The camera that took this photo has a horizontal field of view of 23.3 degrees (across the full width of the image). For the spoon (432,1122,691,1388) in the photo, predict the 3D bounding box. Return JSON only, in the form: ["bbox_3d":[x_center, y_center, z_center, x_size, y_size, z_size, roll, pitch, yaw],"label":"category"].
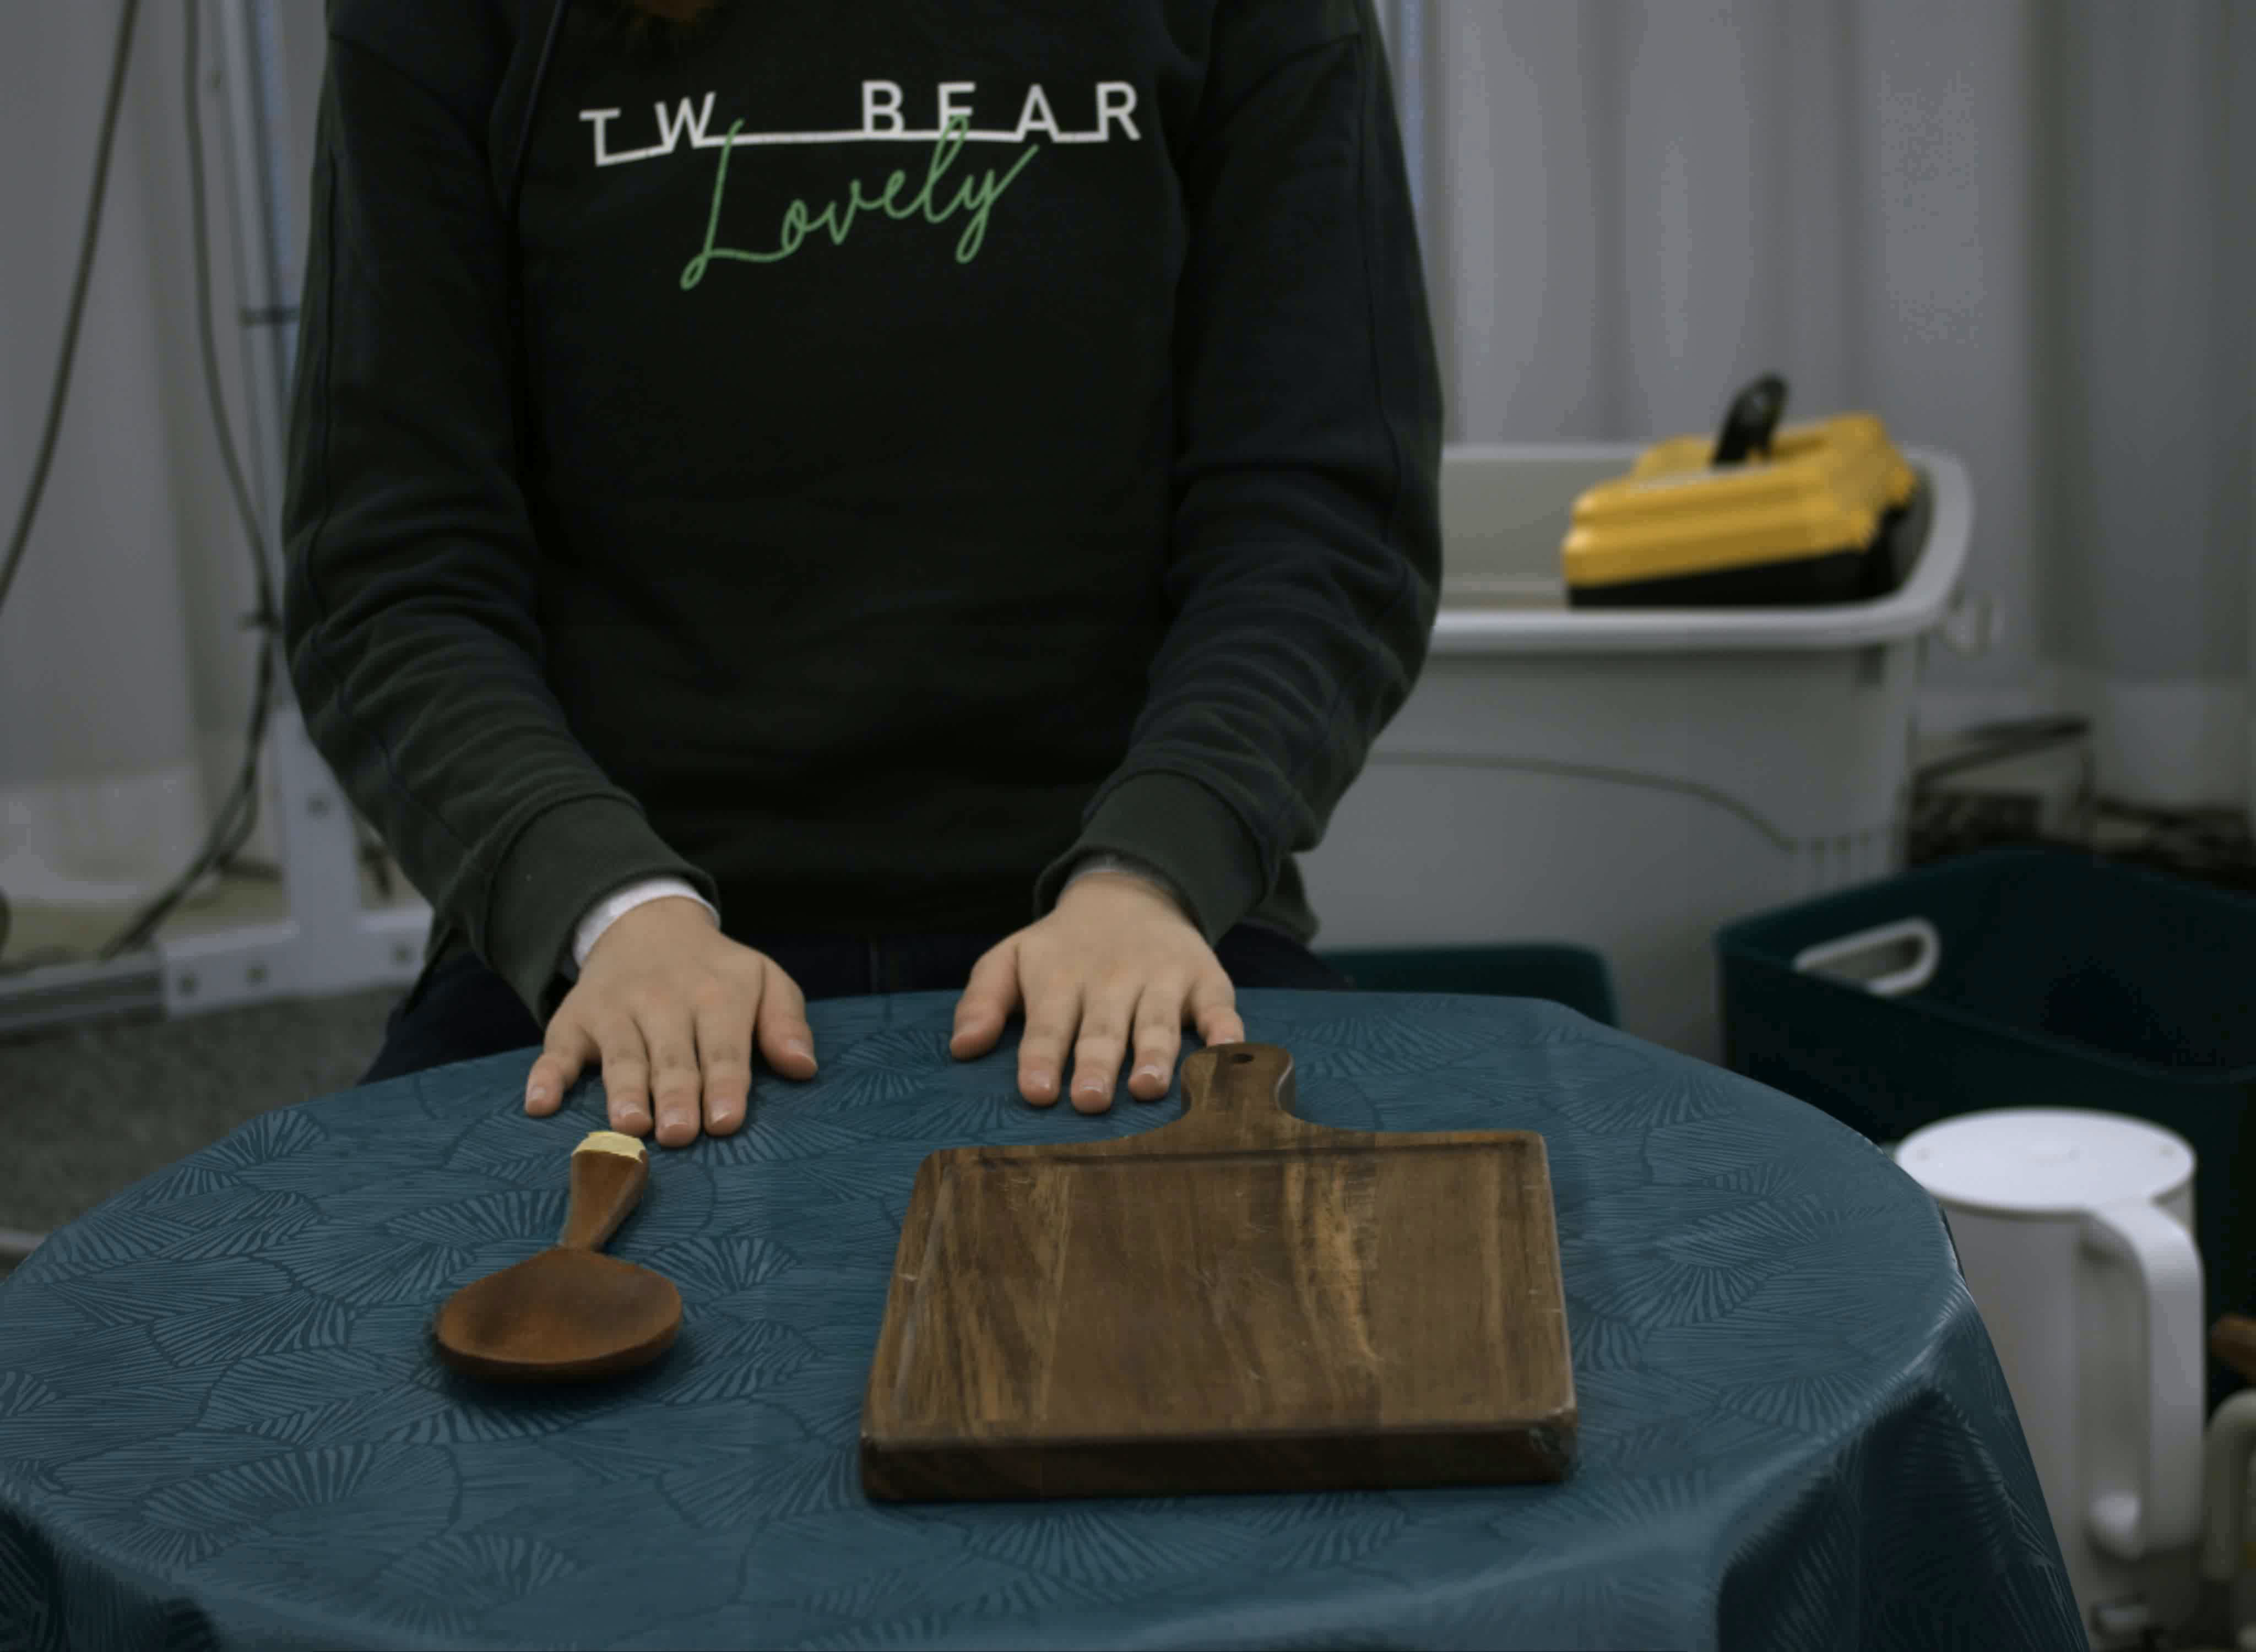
[{"bbox_3d":[-0.164,0.131,1.651,0.075,0.017,0.217,-4,15,1],"label":"spoon"}]

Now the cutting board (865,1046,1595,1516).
[{"bbox_3d":[0.031,0.127,1.629,0.200,0.023,0.354,-3,15,3],"label":"cutting board"}]
